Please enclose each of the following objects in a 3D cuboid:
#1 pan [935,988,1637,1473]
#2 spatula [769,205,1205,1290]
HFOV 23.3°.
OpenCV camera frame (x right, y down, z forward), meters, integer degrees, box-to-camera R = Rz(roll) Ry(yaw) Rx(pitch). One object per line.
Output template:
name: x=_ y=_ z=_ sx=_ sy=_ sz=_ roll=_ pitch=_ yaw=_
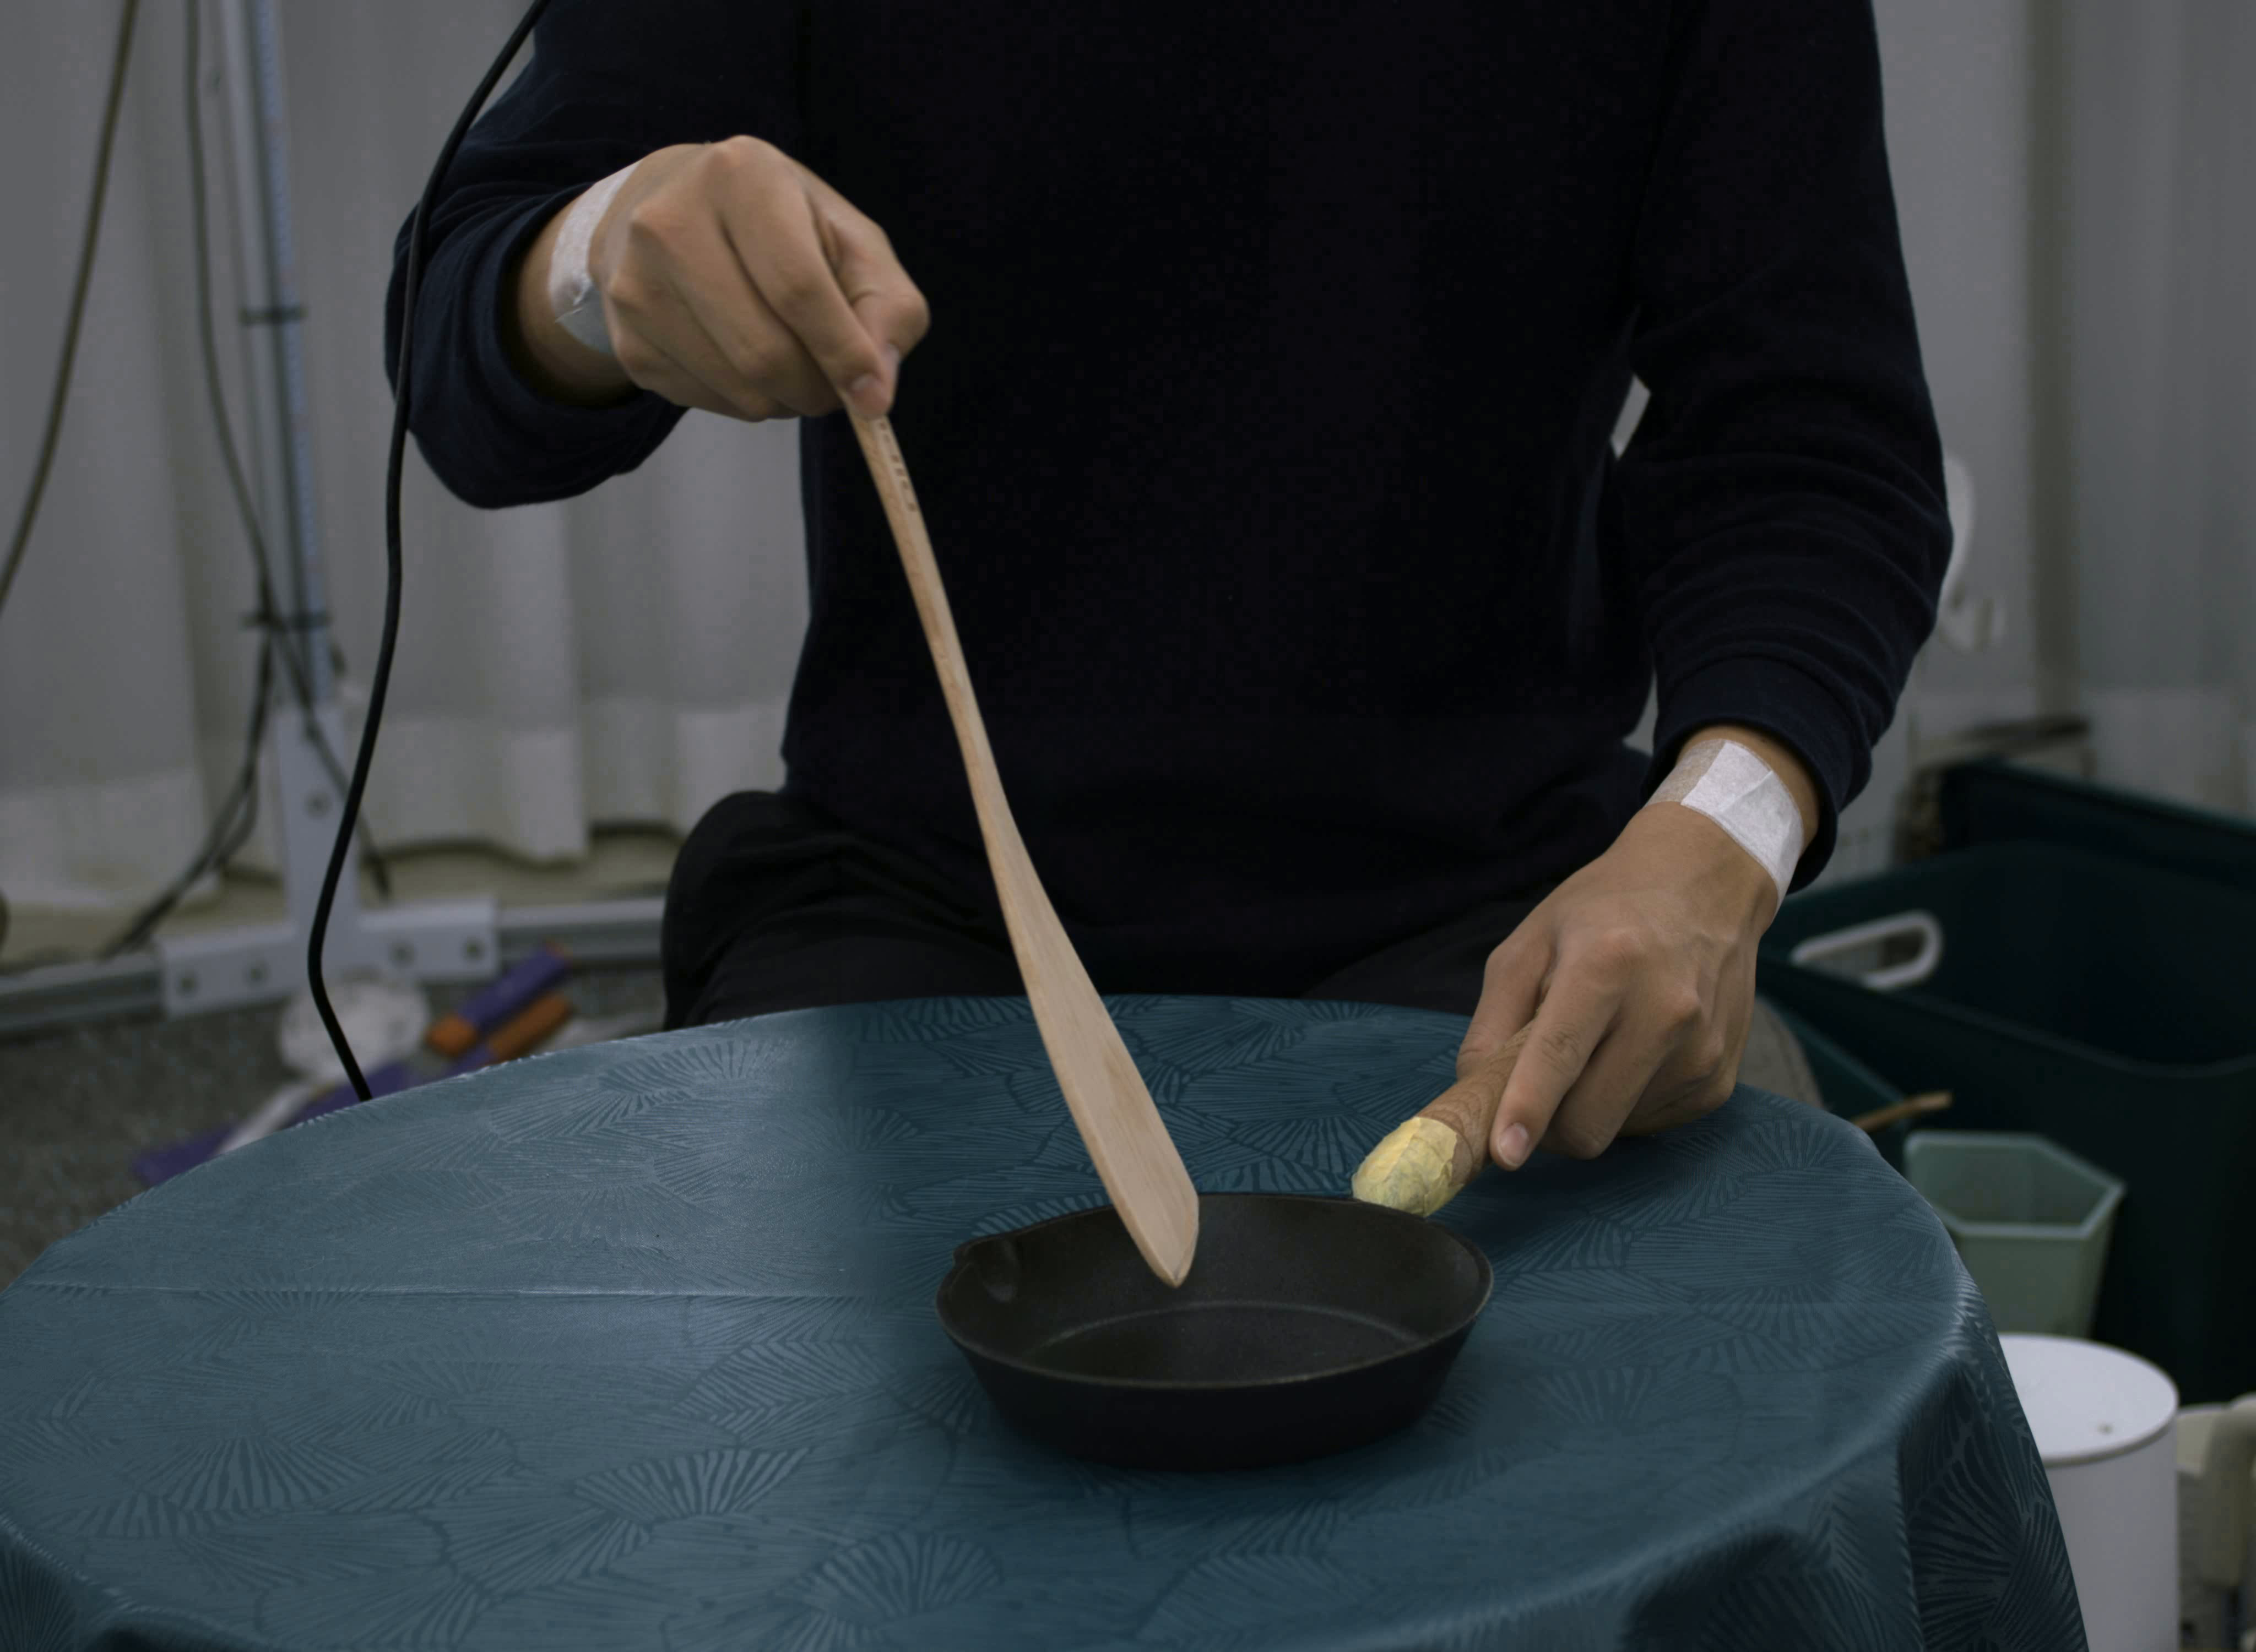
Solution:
pan: x=0.071 y=0.115 z=1.604 sx=0.169 sy=0.049 sz=0.324 roll=6 pitch=19 yaw=33
spatula: x=-0.041 y=-0.024 z=1.563 sx=0.016 sy=0.329 sz=0.080 roll=-20 pitch=-3 yaw=13
